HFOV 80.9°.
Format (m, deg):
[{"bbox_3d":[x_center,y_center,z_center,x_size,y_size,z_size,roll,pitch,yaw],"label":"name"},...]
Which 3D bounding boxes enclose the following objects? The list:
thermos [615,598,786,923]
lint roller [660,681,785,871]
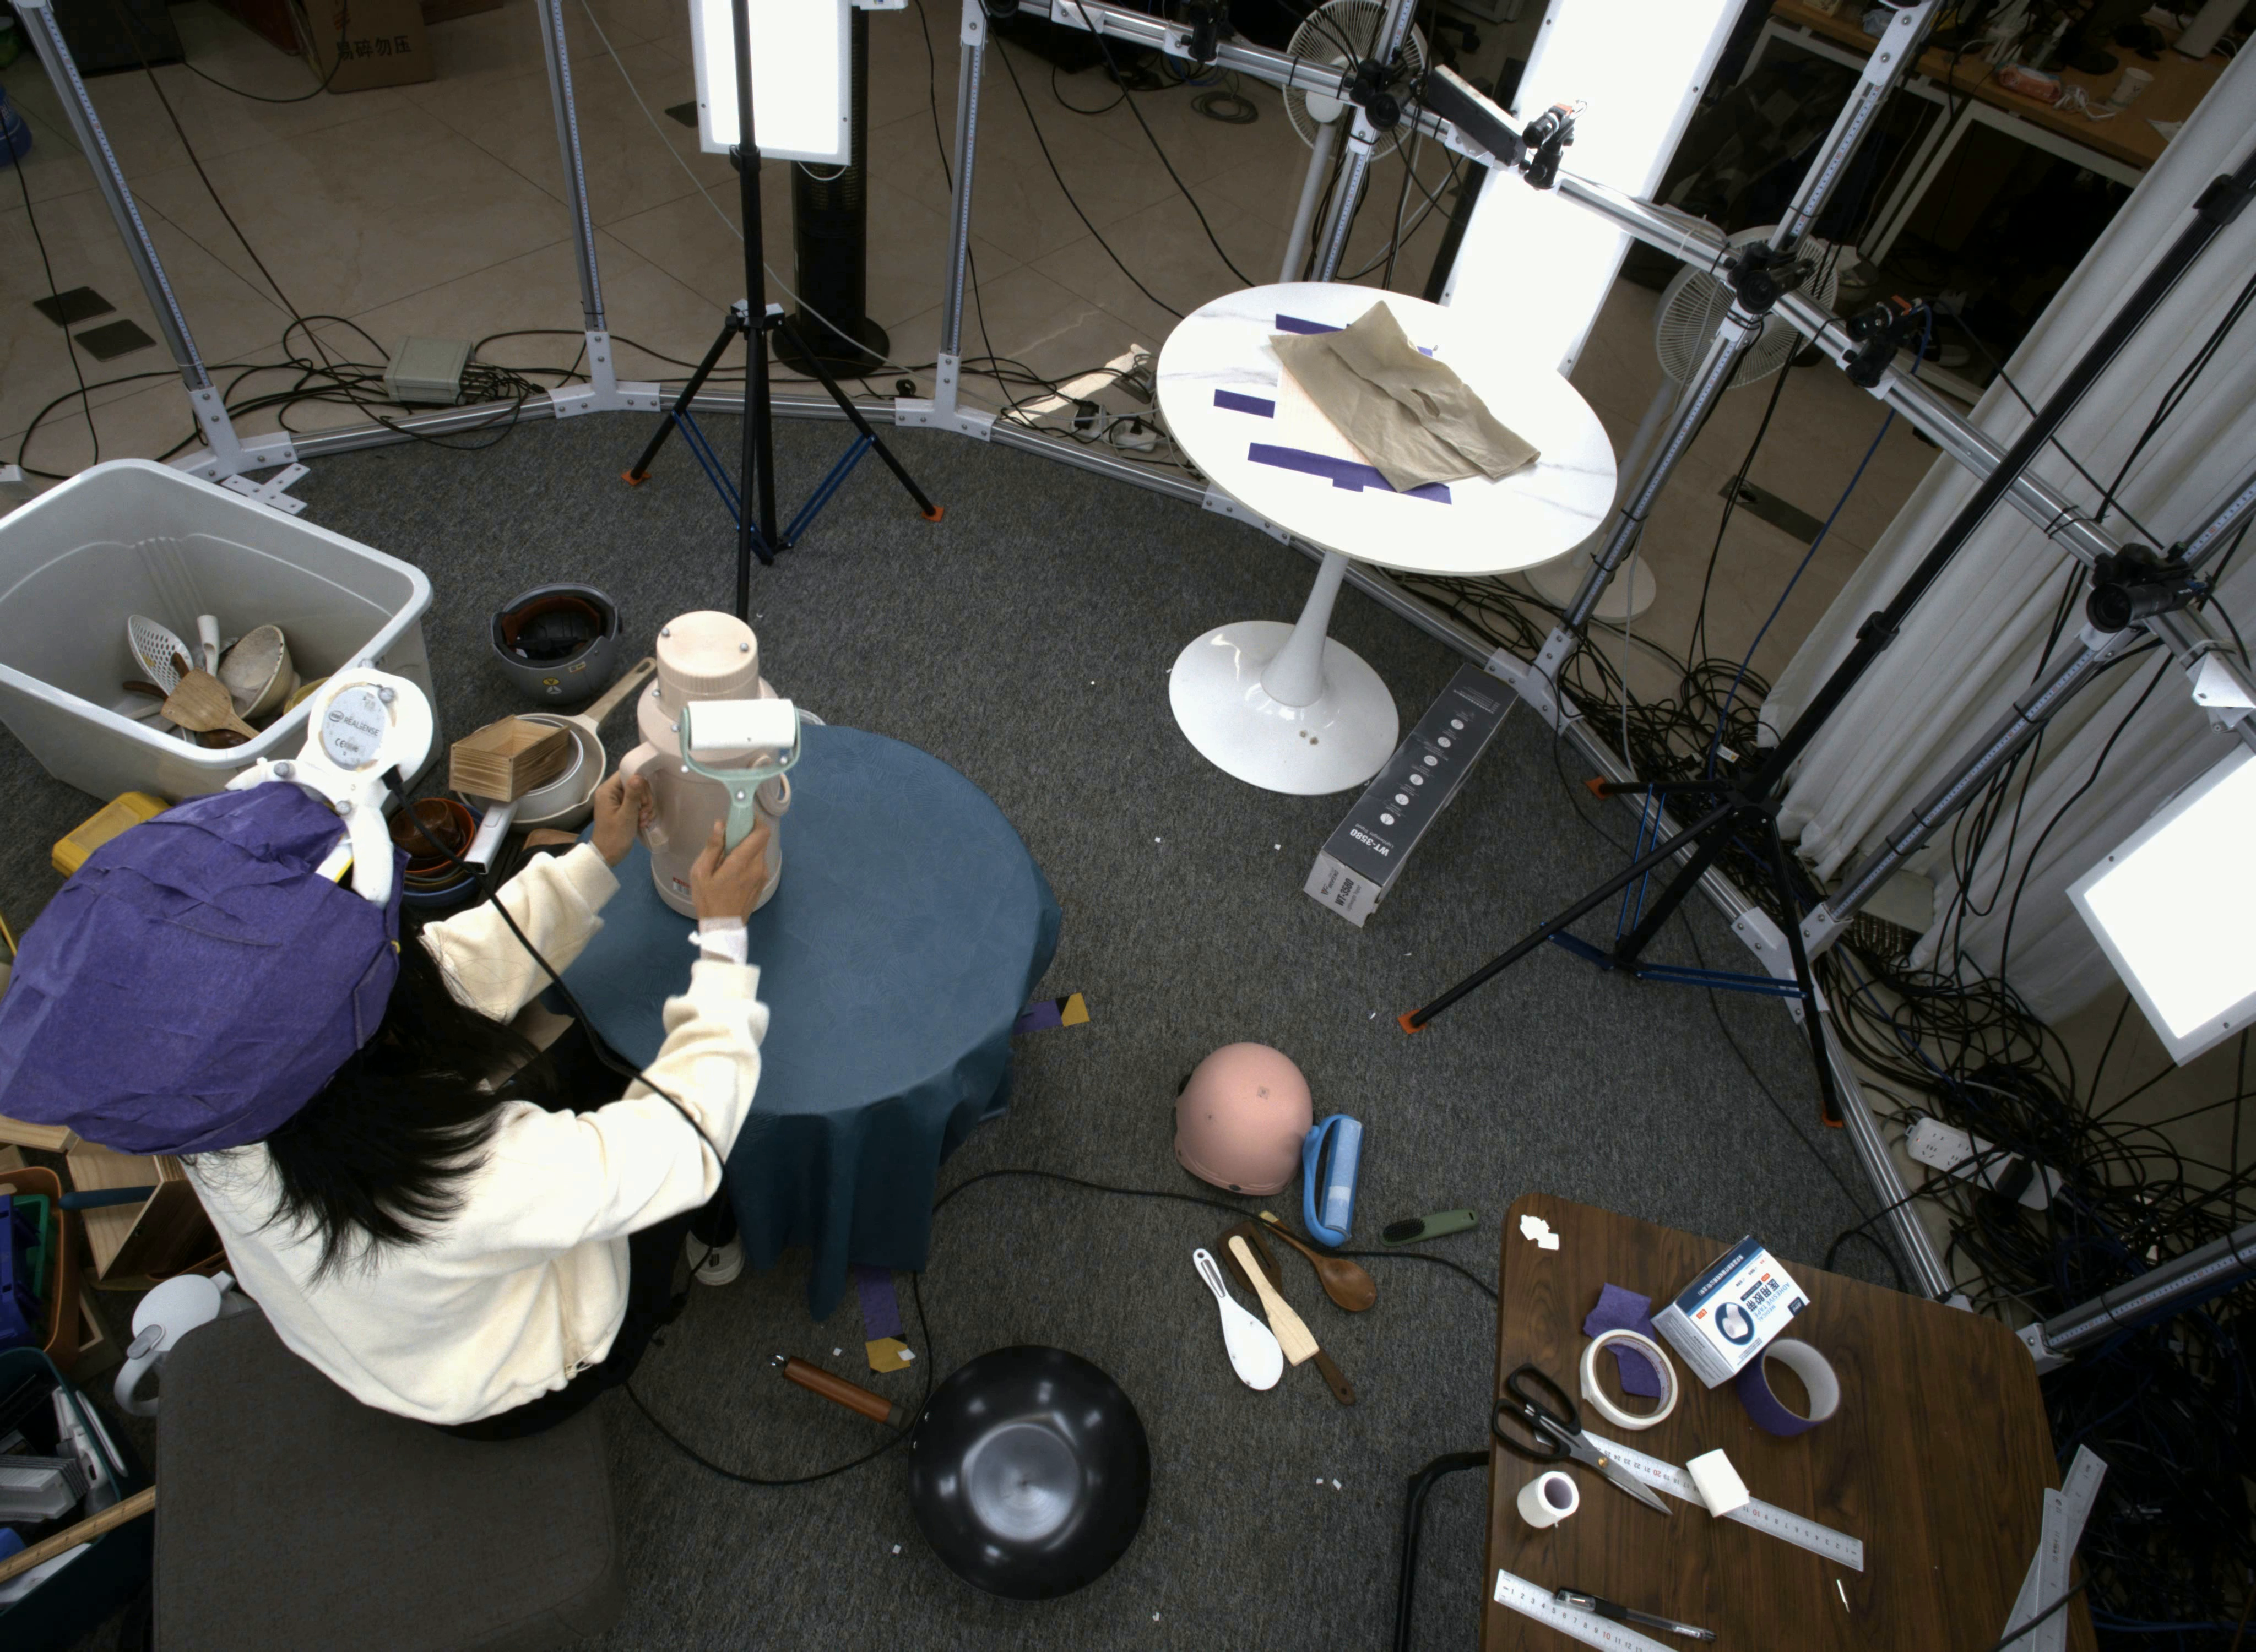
[{"bbox_3d":[-0.496,-0.066,1.487,0.171,0.415,0.207,35,51,16],"label":"thermos"},{"bbox_3d":[-0.394,-0.042,1.256,0.118,0.203,0.047,-7,28,-27],"label":"lint roller"}]
